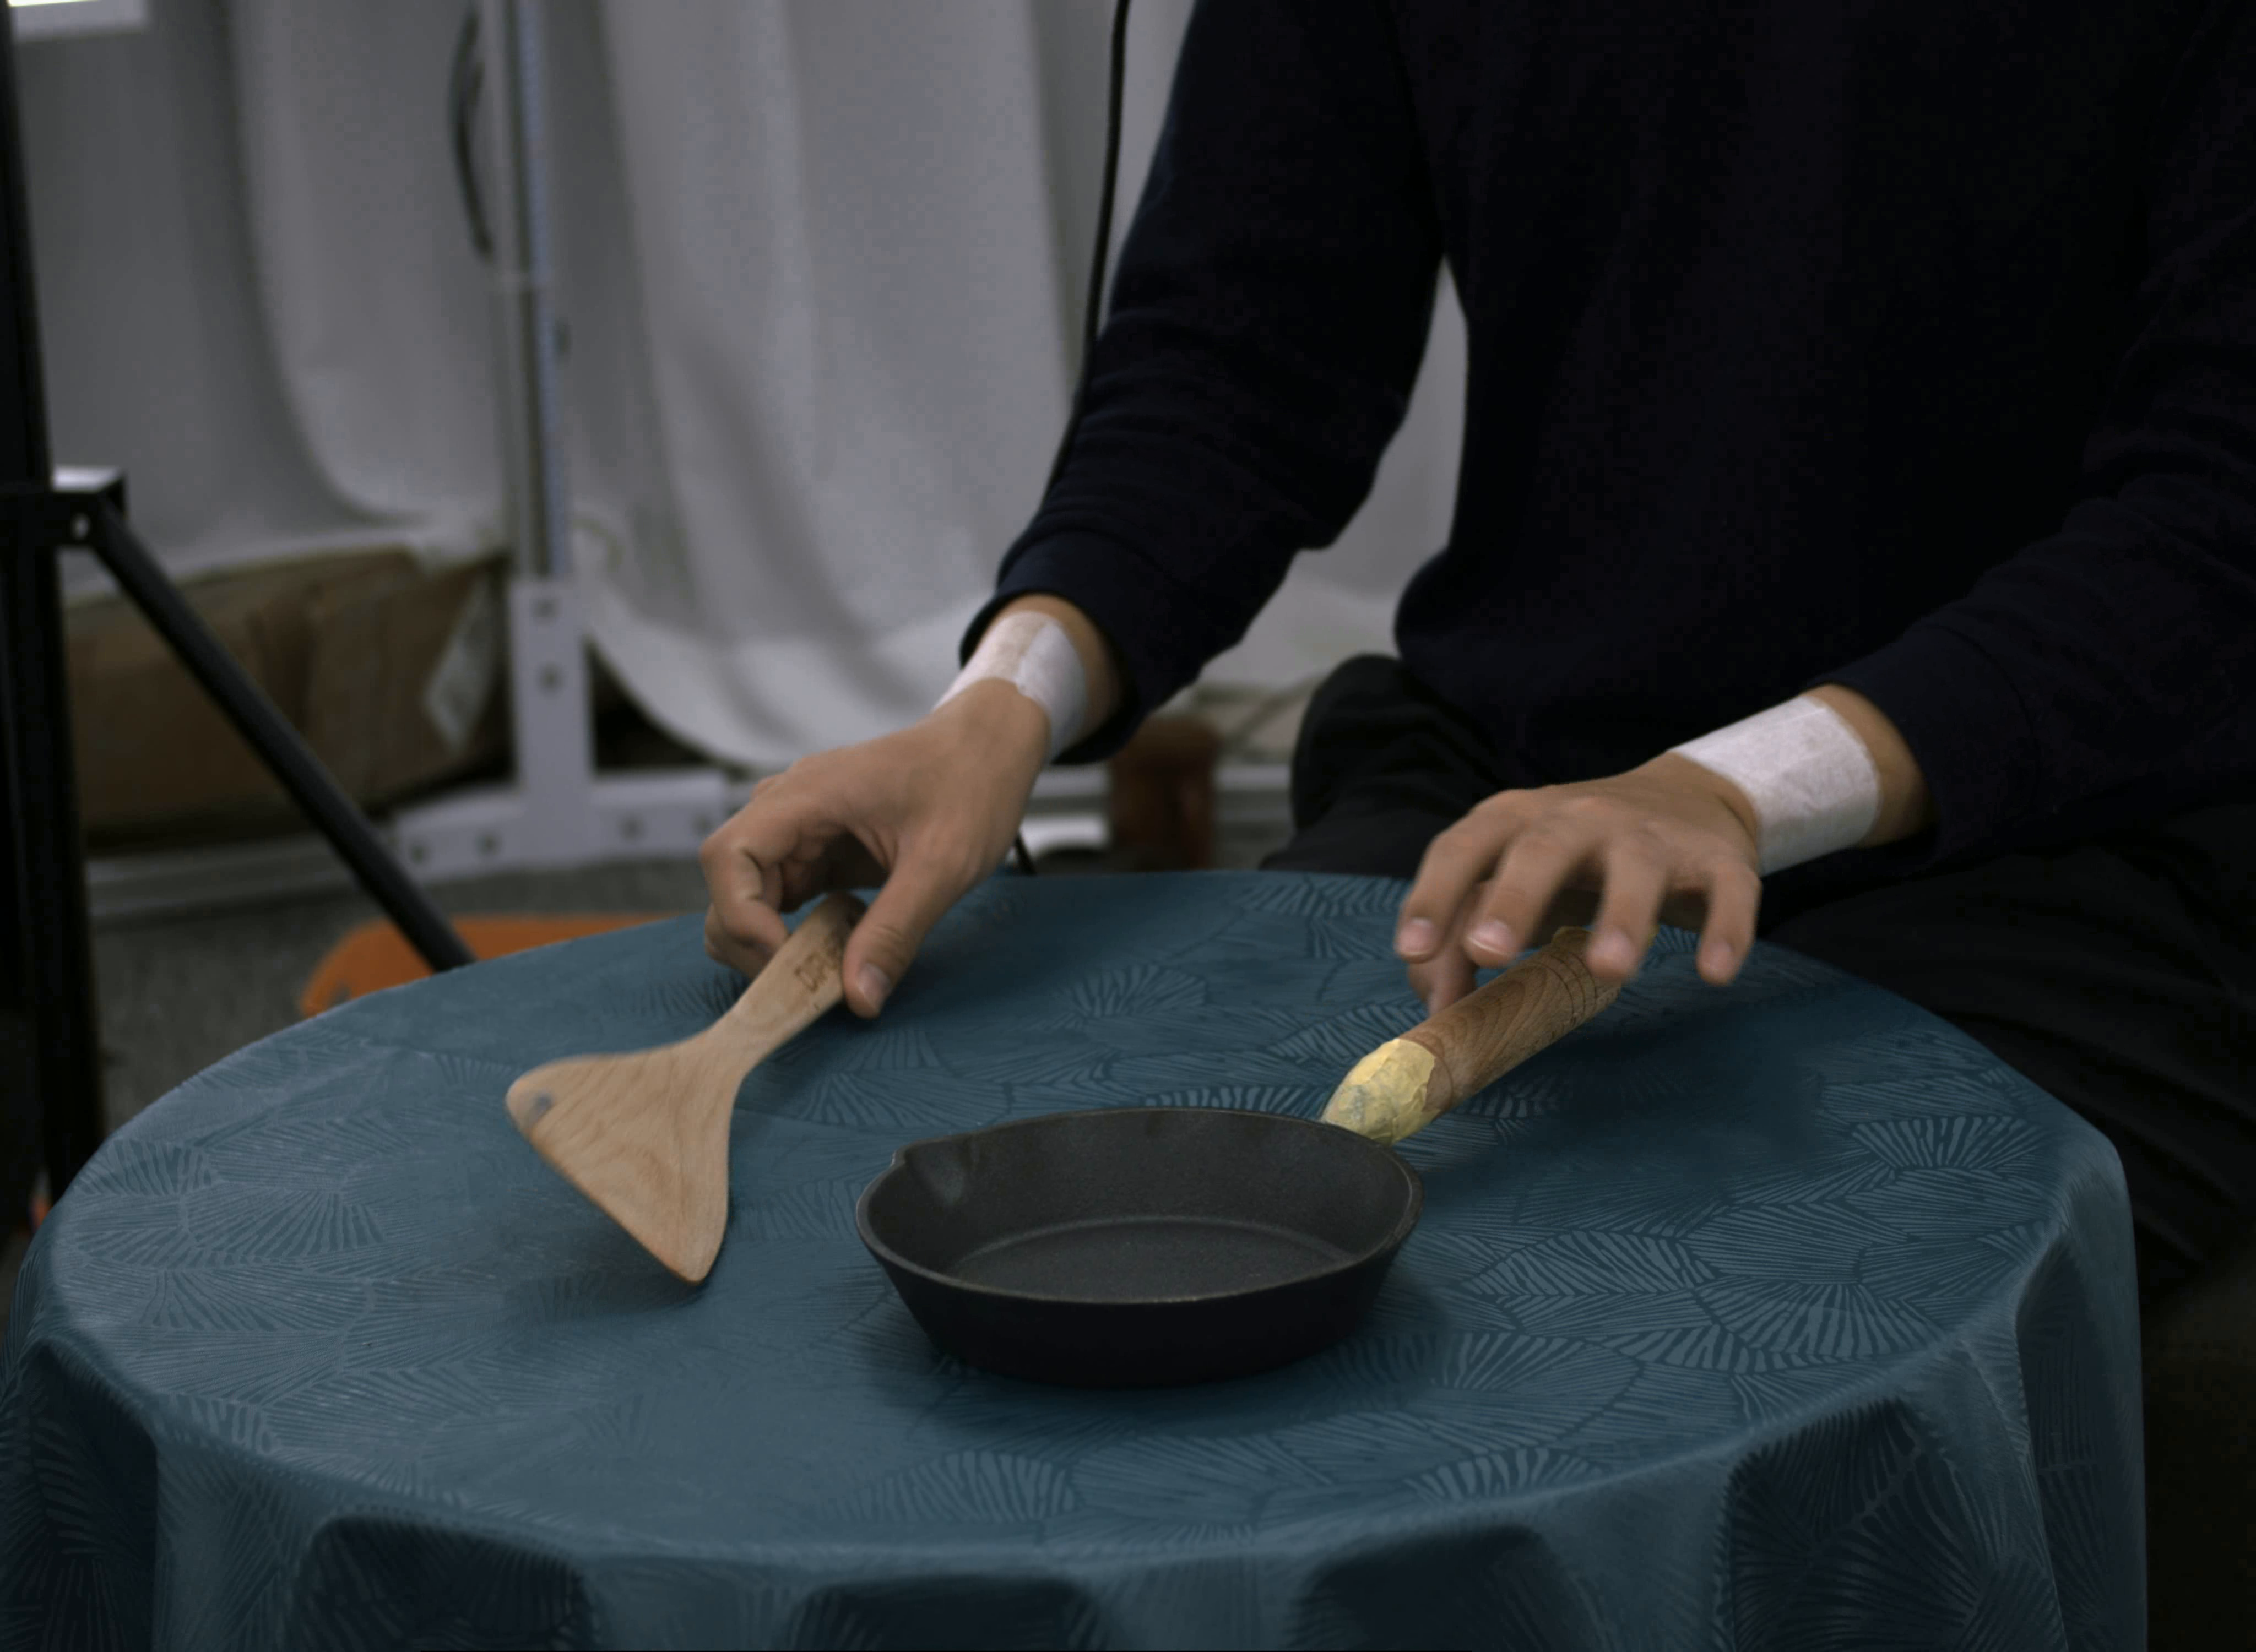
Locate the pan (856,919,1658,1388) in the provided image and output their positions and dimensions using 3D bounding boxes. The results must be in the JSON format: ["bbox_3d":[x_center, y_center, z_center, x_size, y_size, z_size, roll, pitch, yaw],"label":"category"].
[{"bbox_3d":[0.058,0.090,1.519,0.172,0.049,0.317,11,22,40],"label":"pan"}]

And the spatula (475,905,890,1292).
[{"bbox_3d":[-0.120,0.072,1.629,0.080,0.016,0.325,37,20,1],"label":"spatula"}]
